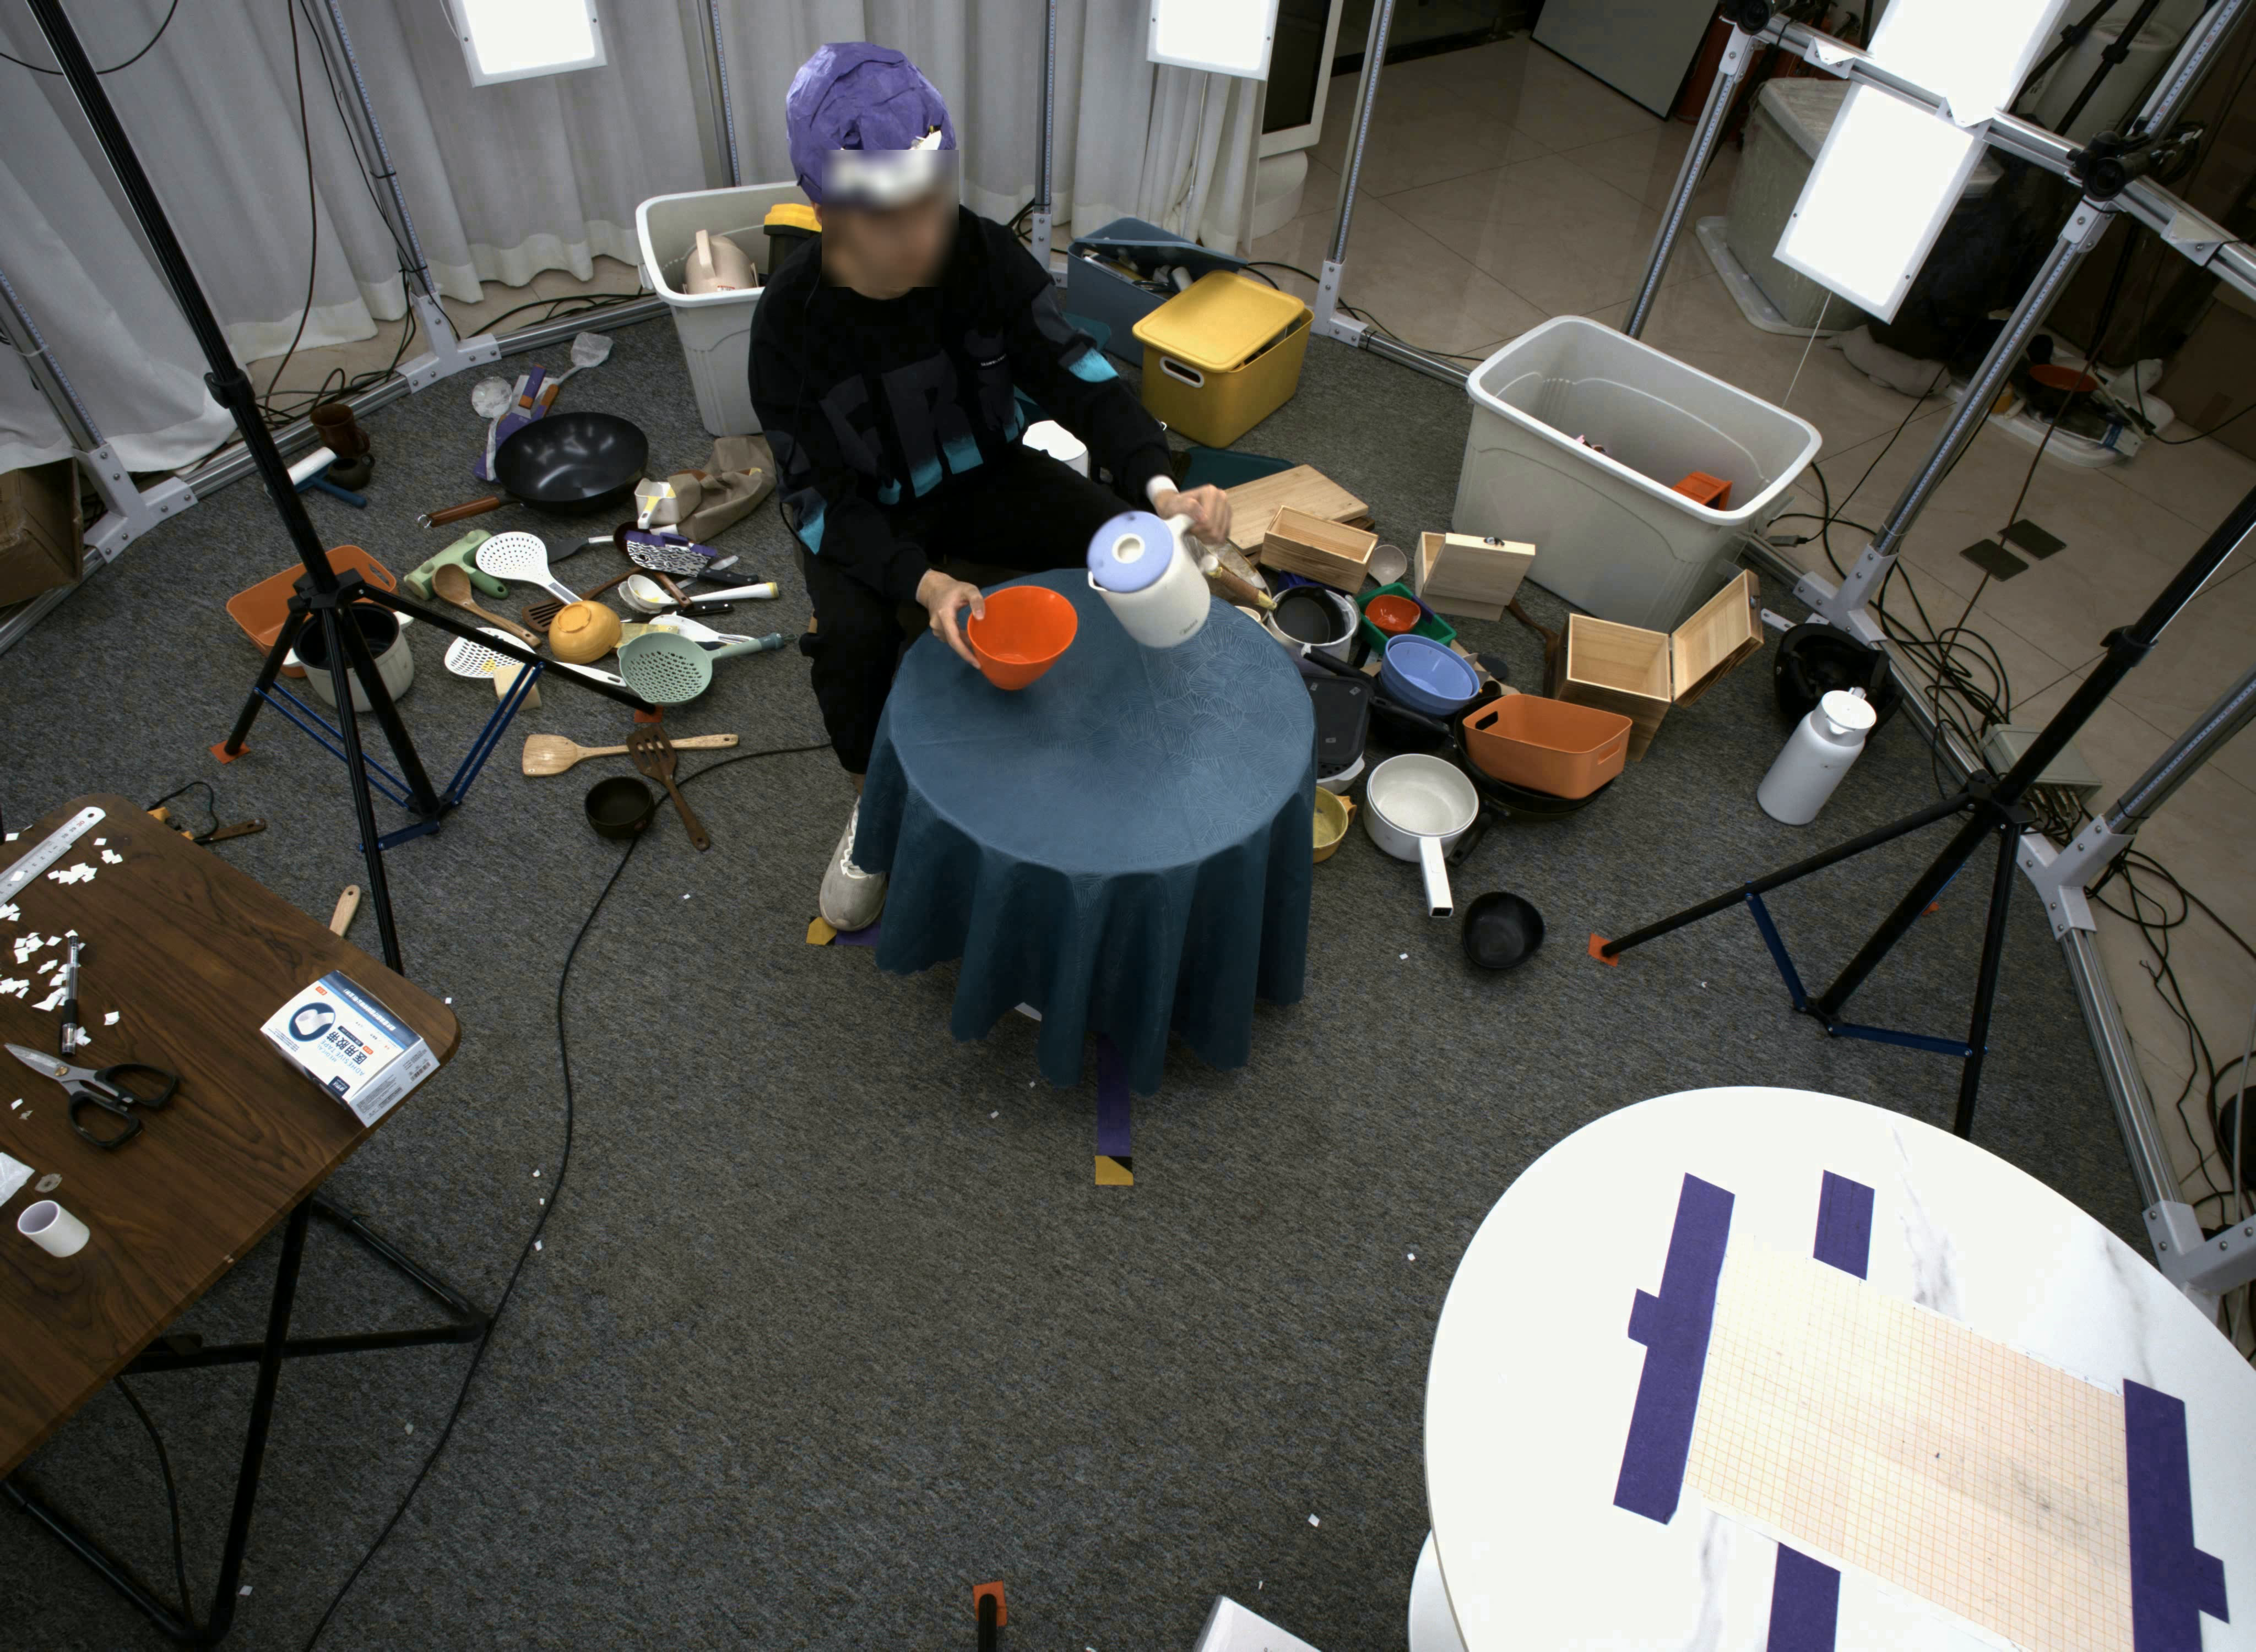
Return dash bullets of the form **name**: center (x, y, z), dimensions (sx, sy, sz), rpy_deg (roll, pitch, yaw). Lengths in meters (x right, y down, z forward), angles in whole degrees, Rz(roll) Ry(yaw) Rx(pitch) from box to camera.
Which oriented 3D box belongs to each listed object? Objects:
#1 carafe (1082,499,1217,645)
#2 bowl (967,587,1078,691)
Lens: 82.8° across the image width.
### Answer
- **carafe**: center (0.042, -0.353, 1.737), dimensions (0.191, 0.179, 0.134), rpy_deg (-42, 64, 0)
- **bowl**: center (-0.149, -0.247, 1.770), dimensions (0.147, 0.102, 0.152), rpy_deg (6, 49, -7)
